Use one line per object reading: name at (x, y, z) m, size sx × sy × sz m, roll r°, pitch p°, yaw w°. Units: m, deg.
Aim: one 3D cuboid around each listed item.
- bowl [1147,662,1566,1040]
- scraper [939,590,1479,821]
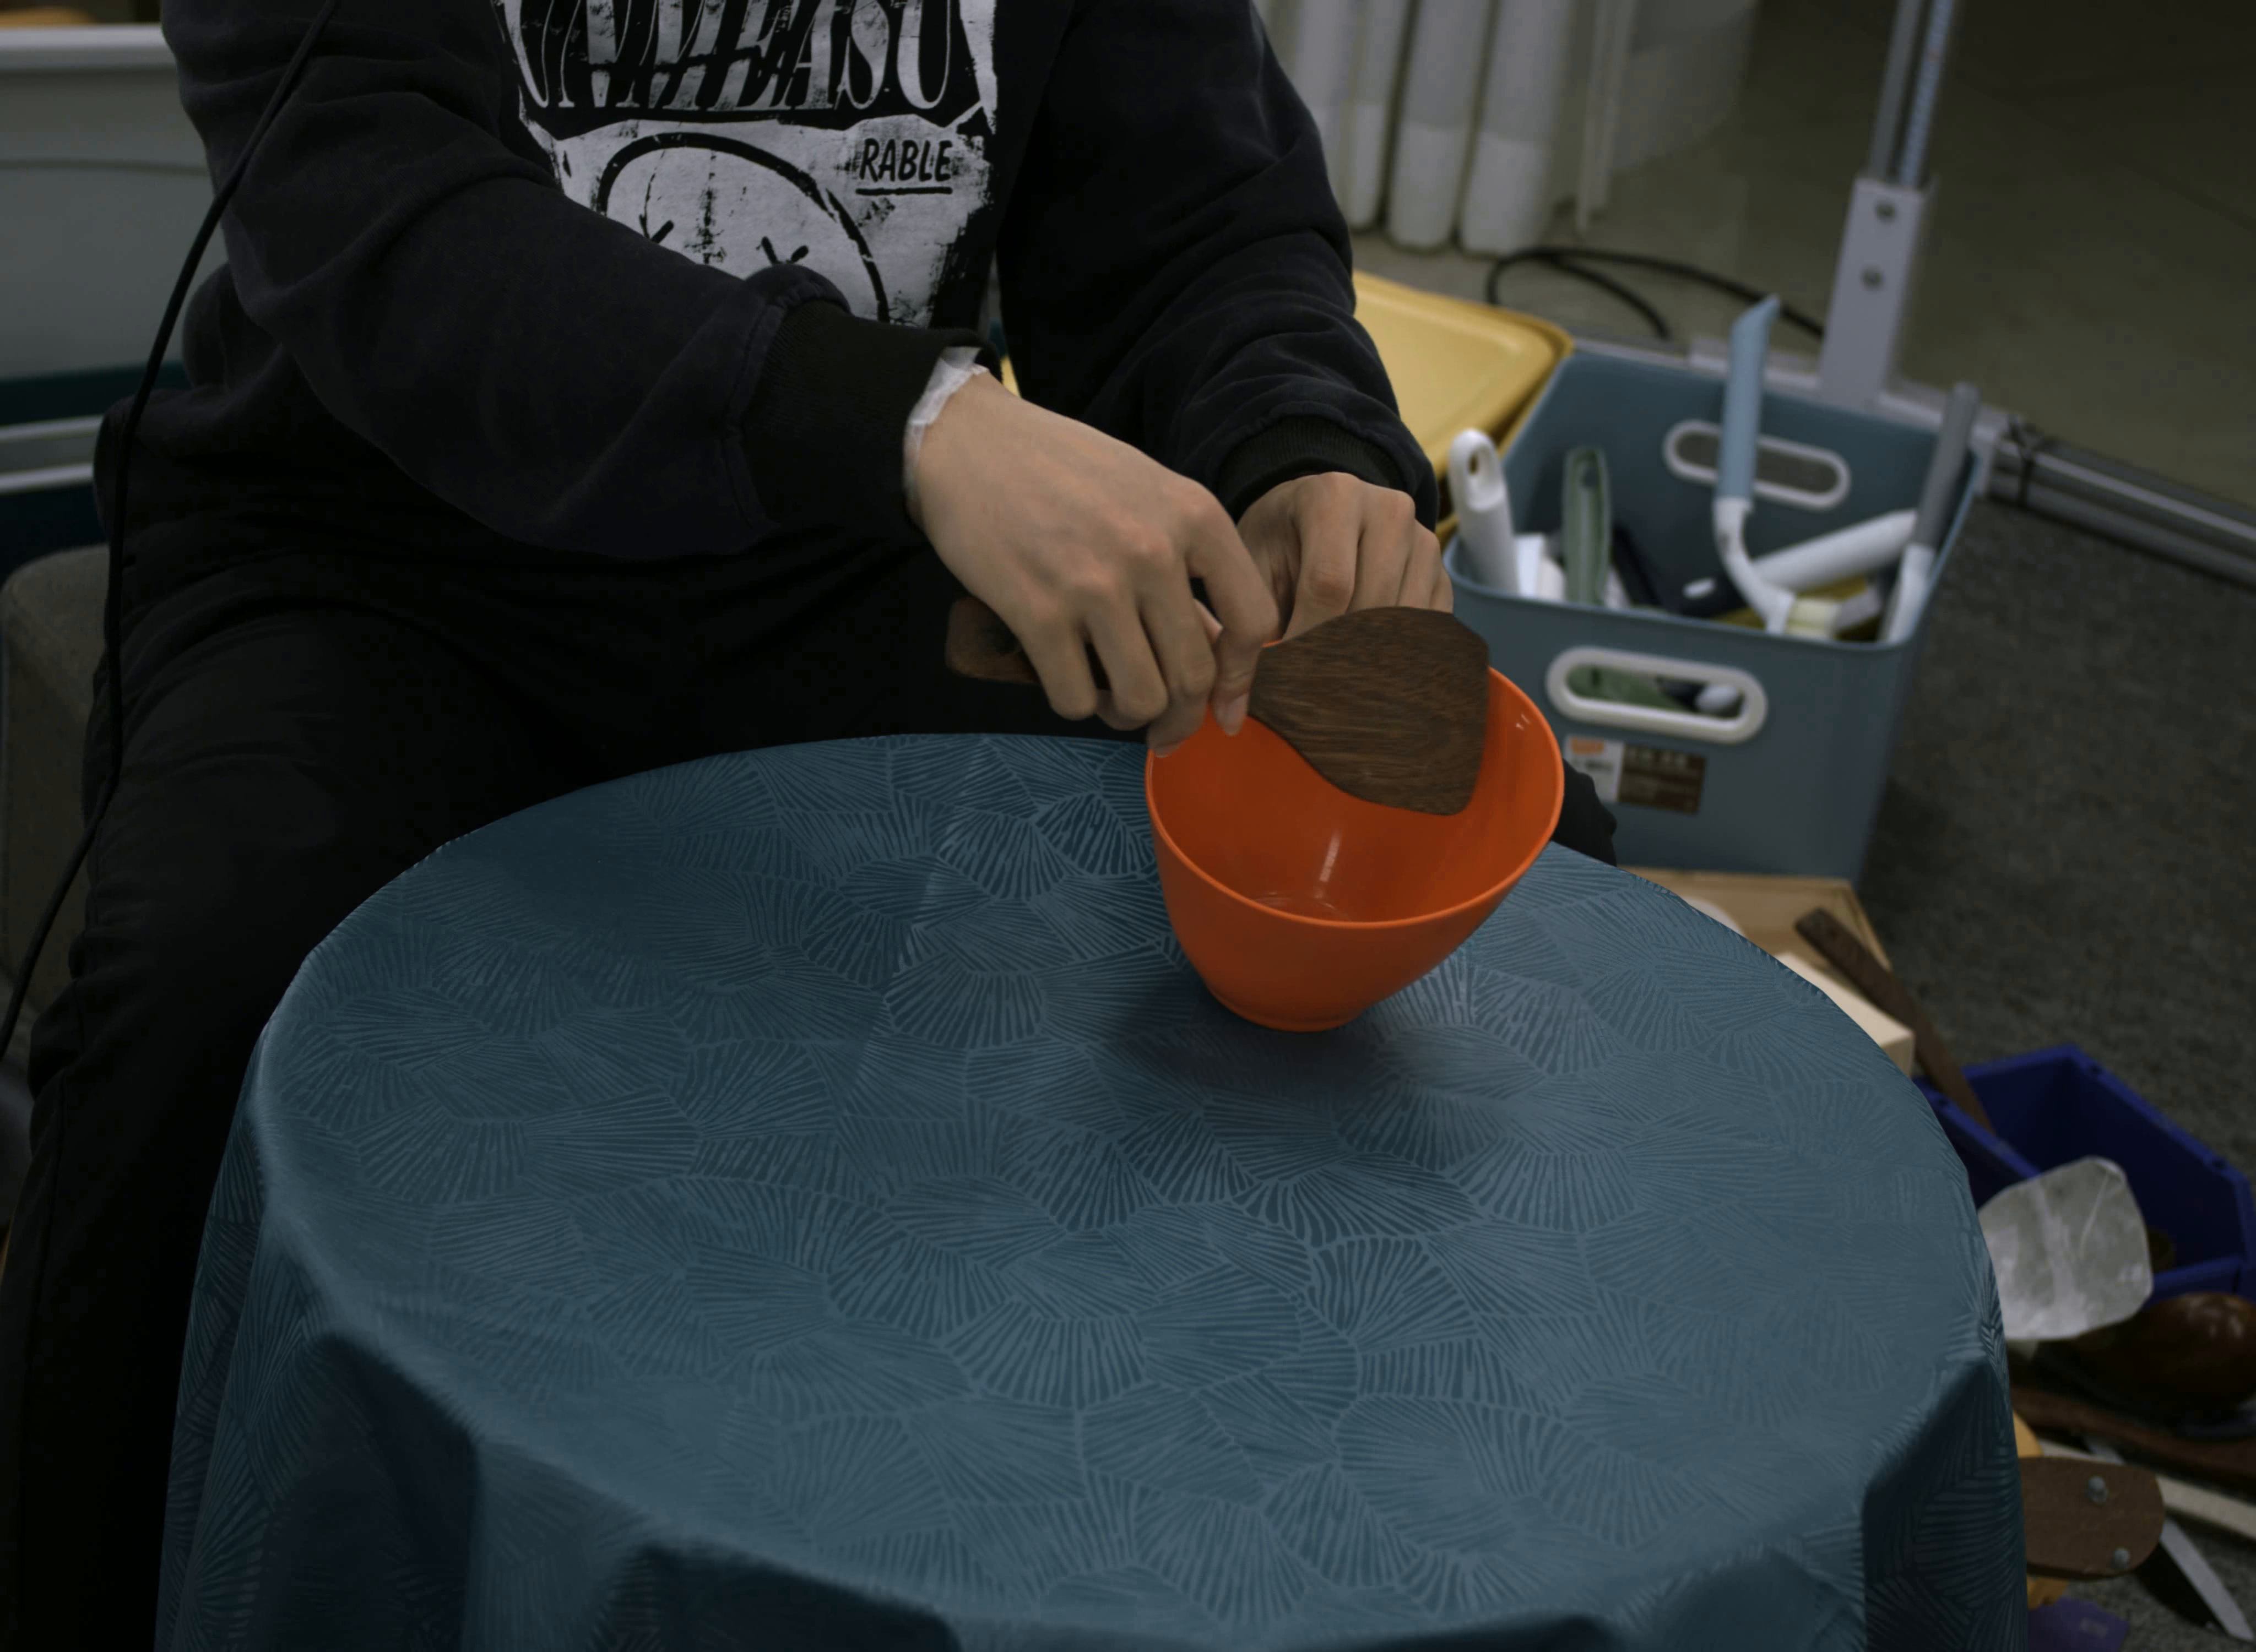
bowl at (0.075, 0.014, 1.907) m, size 0.147 × 0.104 × 0.149 m, roll 6°, pitch 40°, yaw -6°
scraper at (0.029, -0.053, 1.857) m, size 0.209 × 0.076 × 0.011 m, roll 9°, pitch -4°, yaw -26°
